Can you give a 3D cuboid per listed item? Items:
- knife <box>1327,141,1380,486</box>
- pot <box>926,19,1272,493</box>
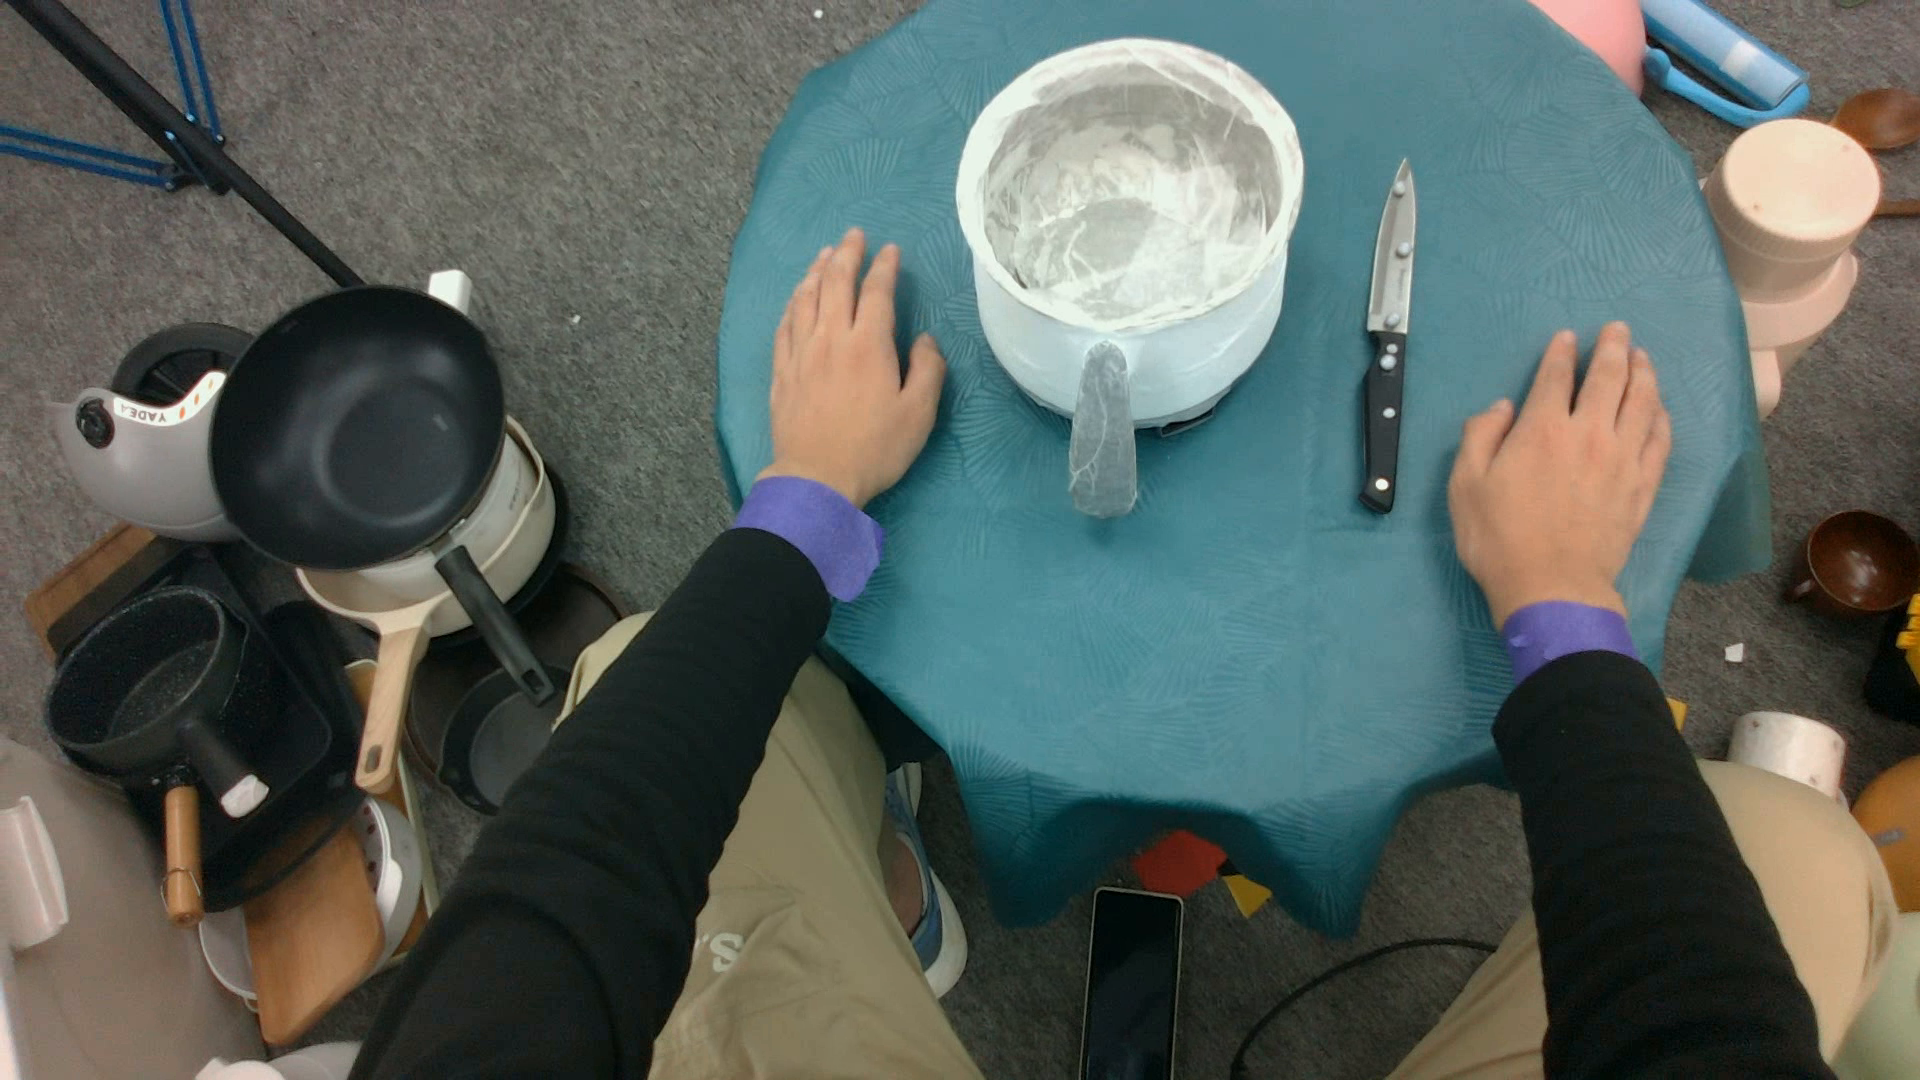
[{"bbox_3d":[0.233,-0.139,0.805,0.024,0.016,0.239,6,67,11],"label":"knife"},{"bbox_3d":[0.074,-0.149,0.756,0.178,0.136,0.234,3,68,8],"label":"pot"}]
